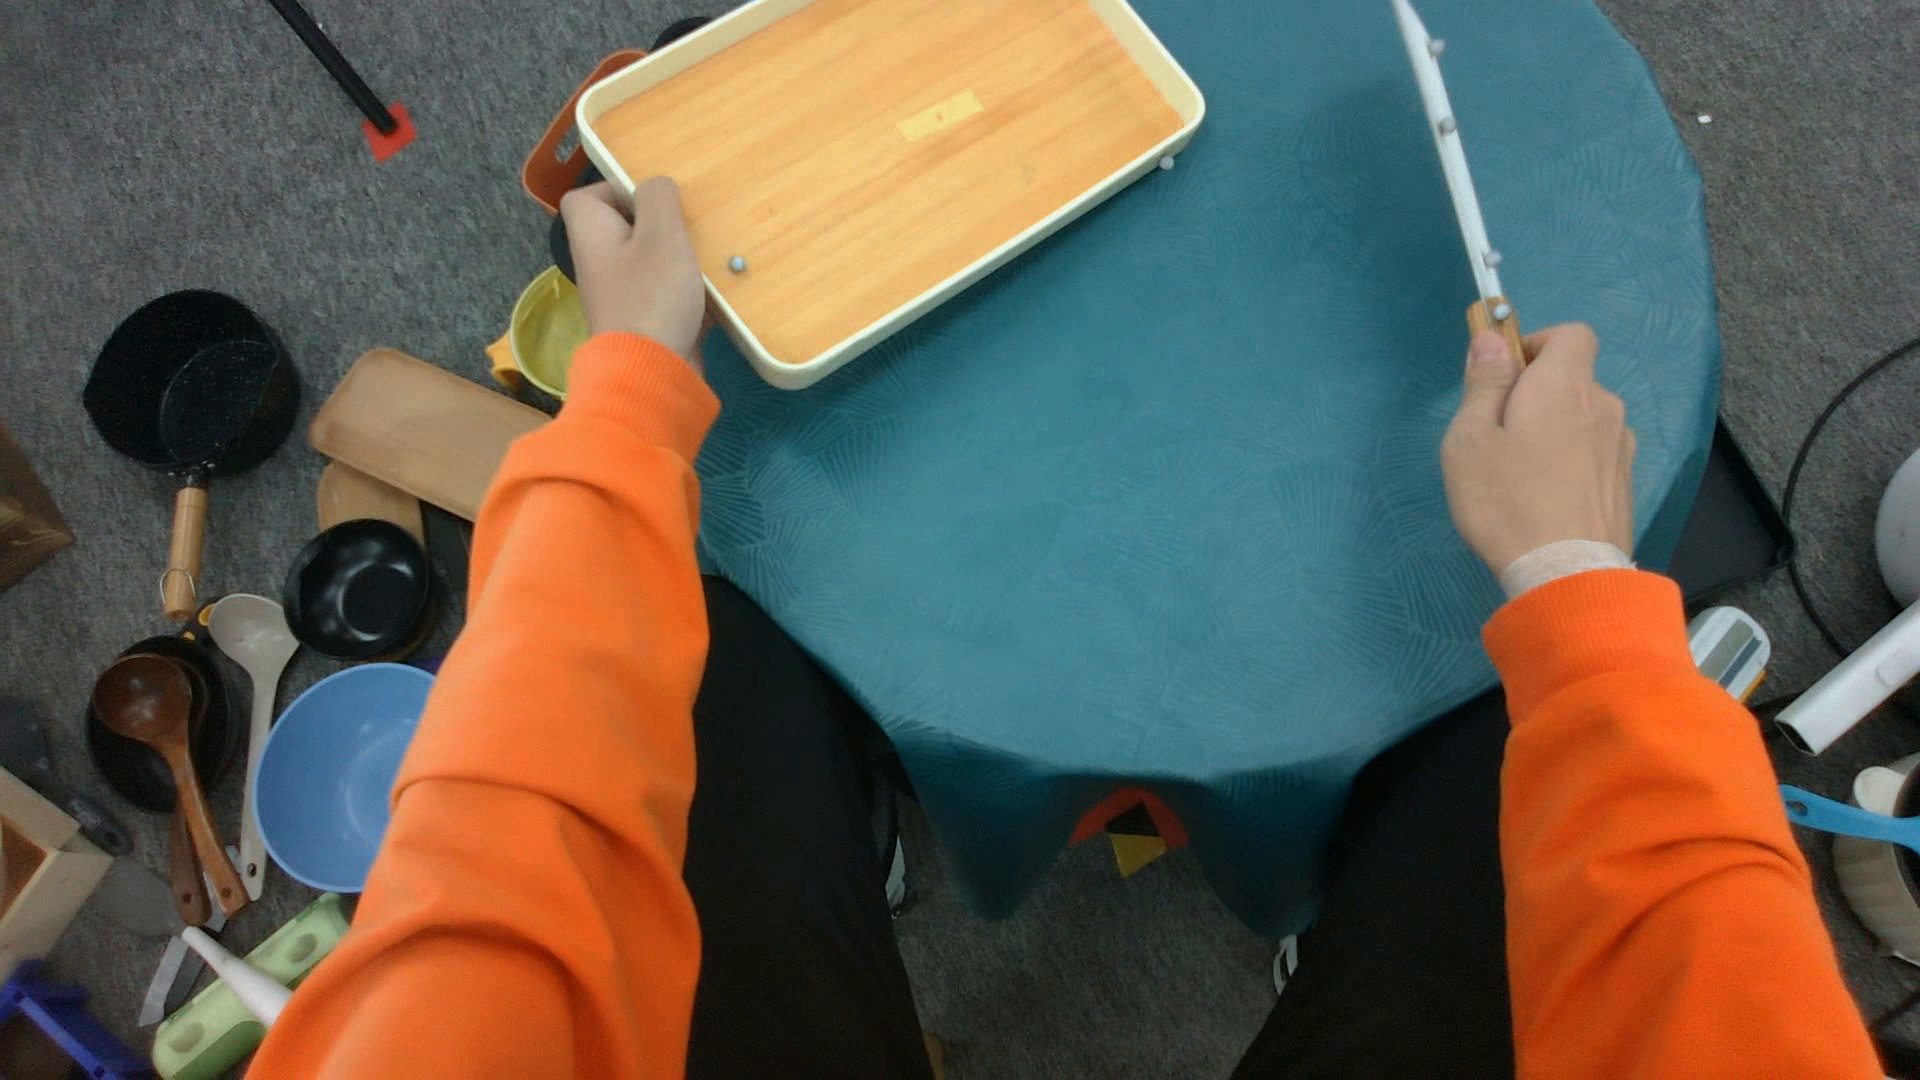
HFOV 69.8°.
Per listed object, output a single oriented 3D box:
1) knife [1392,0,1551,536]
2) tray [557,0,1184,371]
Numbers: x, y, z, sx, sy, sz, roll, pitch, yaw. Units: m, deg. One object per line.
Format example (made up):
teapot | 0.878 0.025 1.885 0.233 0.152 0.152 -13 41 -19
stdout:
knife | 0.251 -0.148 0.692 0.021 0.093 0.306 -15 79 24
tray | -0.041 -0.234 0.744 0.301 0.027 0.191 -35 80 -21
